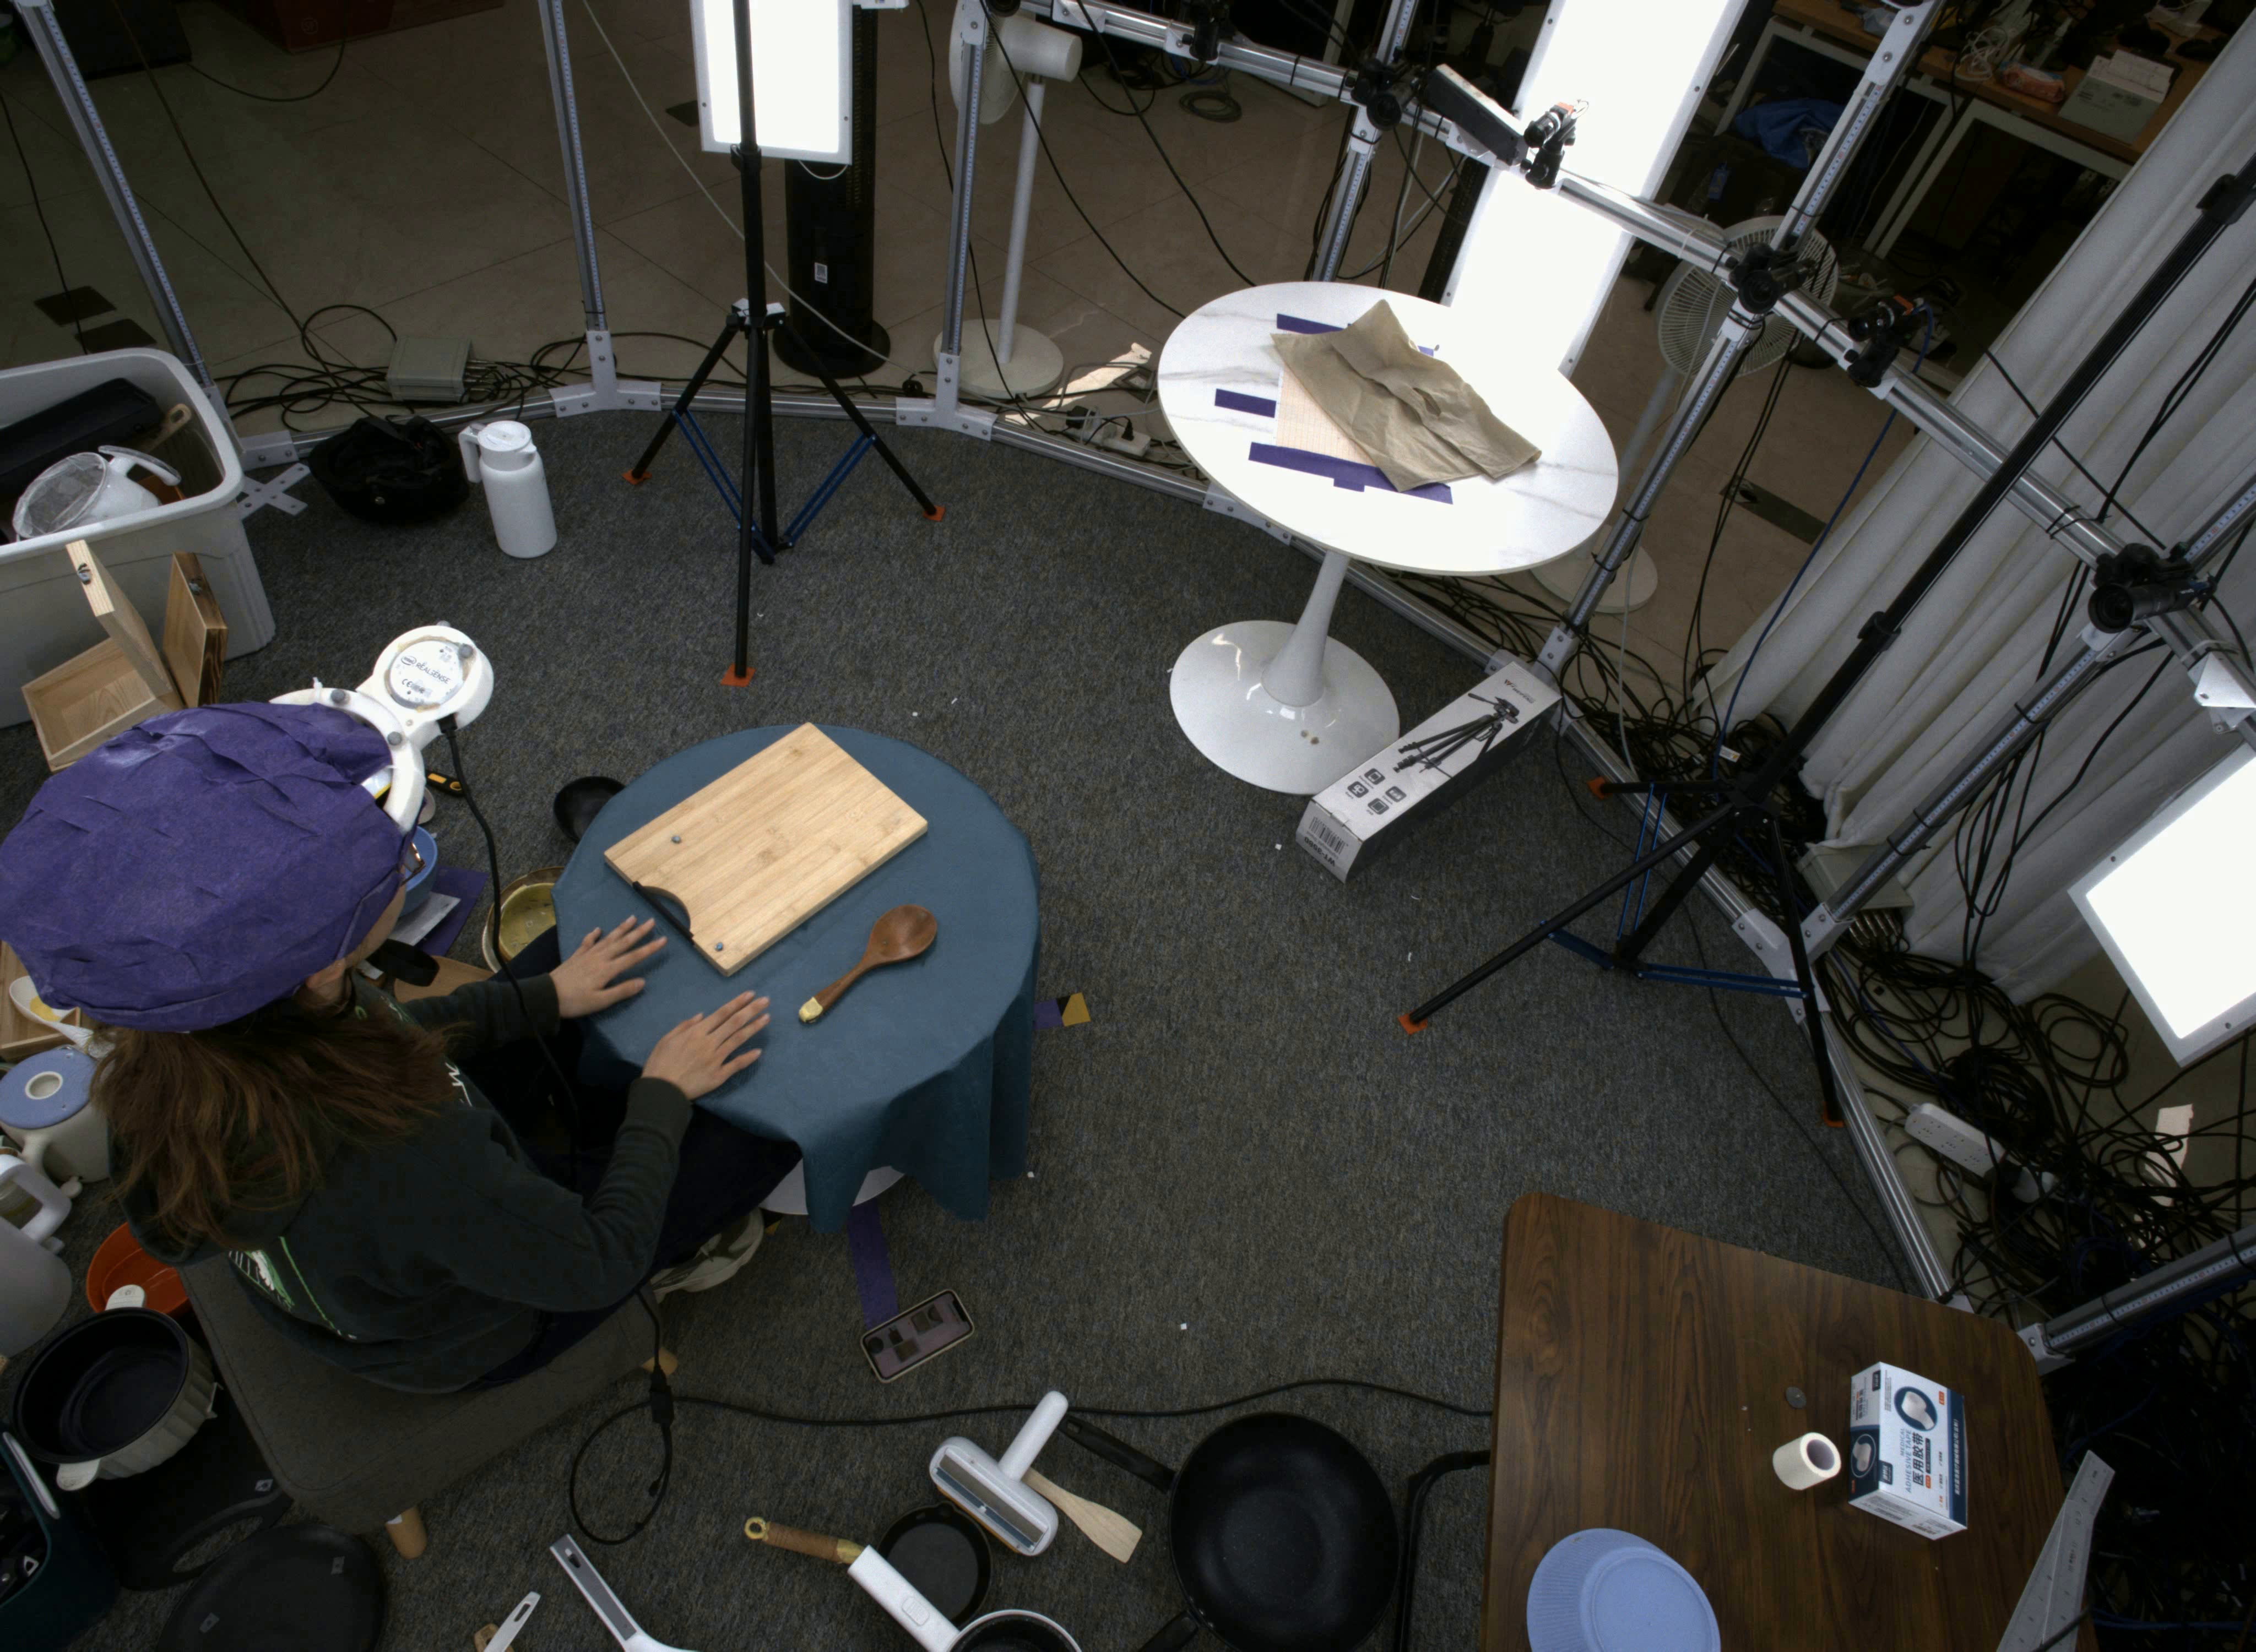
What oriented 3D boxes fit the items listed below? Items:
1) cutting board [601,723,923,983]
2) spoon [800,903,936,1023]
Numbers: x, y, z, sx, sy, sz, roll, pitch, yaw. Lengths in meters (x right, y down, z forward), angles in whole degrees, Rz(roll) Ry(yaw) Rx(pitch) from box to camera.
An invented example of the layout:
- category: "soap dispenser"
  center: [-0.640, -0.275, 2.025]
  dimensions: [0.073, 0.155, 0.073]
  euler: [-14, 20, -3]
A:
- category: "cutting board"
  center: [-0.472, 0.023, 1.690]
  dimensions: [0.245, 0.024, 0.349]
  euler: [38, 54, 15]
- category: "spoon"
  center: [-0.325, 0.169, 1.617]
  dimensions: [0.074, 0.017, 0.216]
  euler: [39, 54, 13]
